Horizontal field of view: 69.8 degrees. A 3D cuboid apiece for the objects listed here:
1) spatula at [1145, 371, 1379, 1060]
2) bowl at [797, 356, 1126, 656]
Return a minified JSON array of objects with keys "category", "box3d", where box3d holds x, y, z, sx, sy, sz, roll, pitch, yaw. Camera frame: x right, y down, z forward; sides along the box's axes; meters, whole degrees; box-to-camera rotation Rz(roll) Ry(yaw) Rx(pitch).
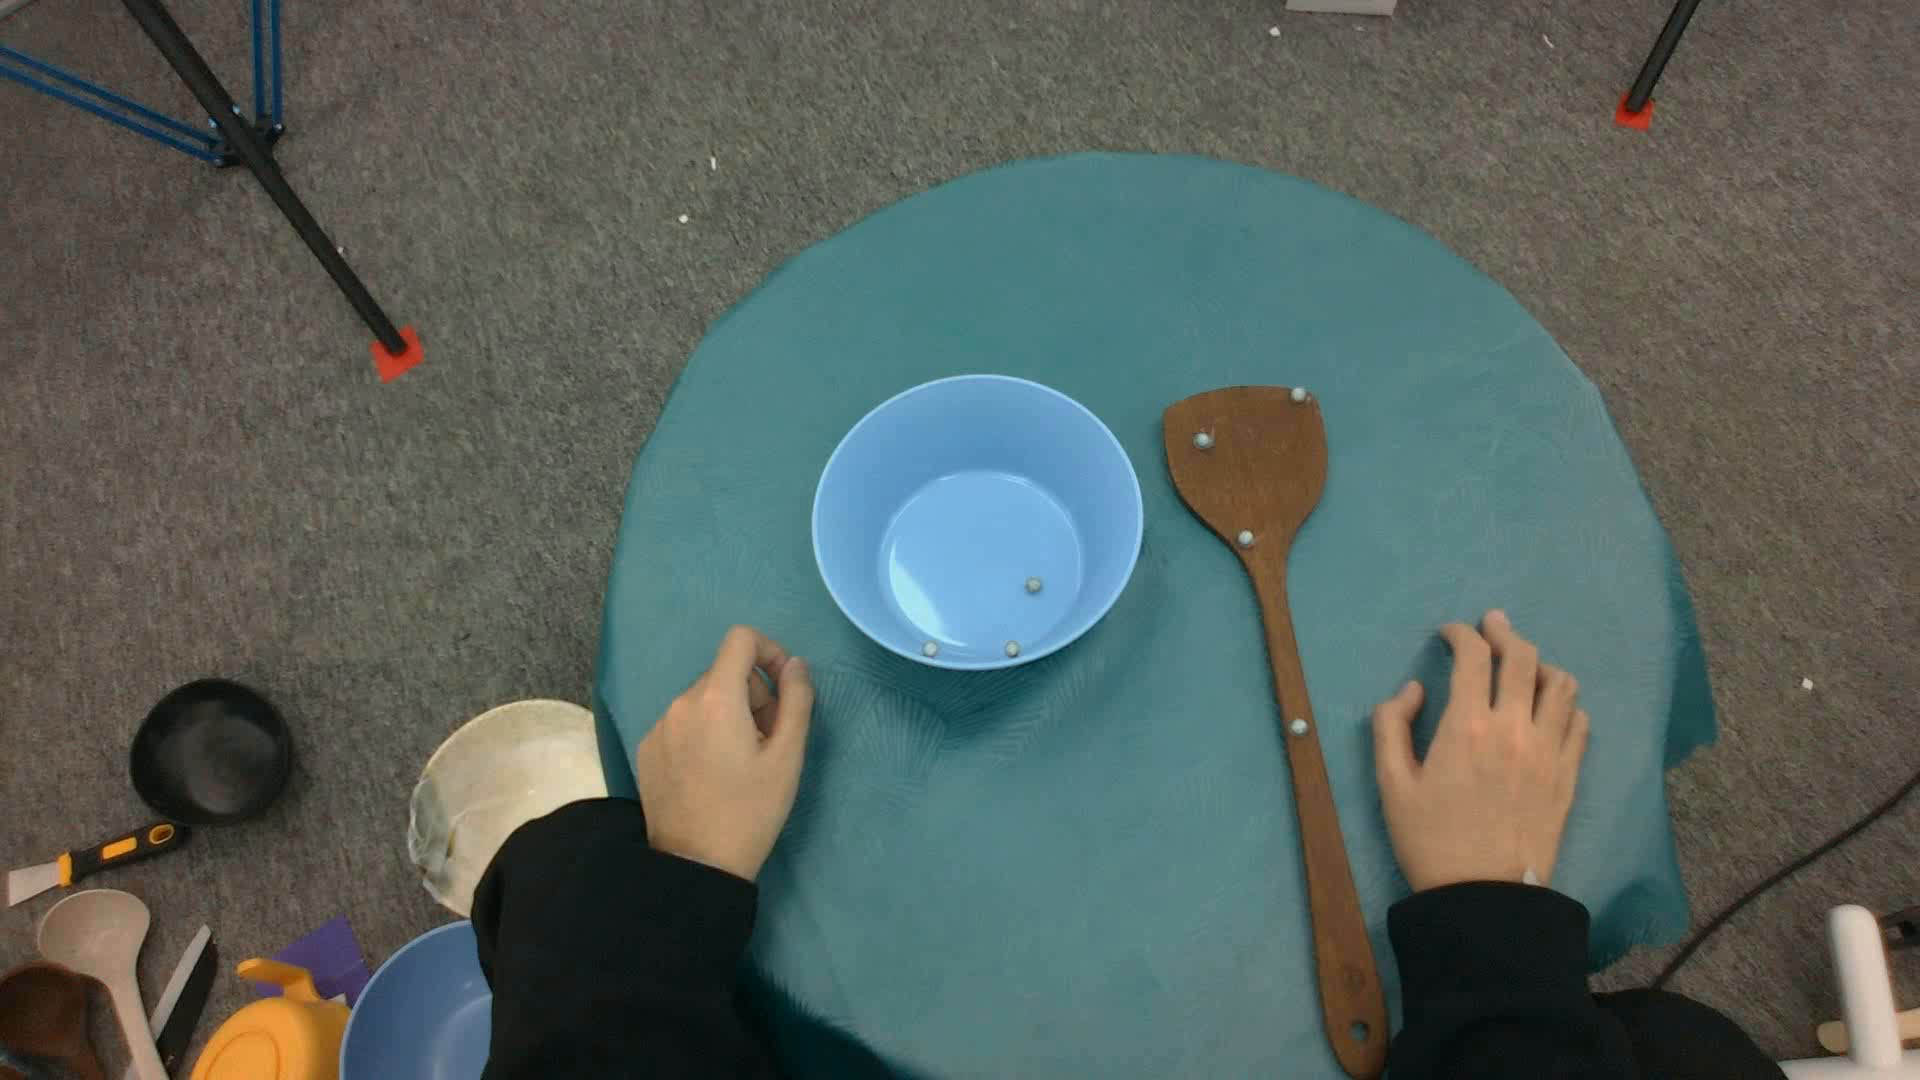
[{"category":"spatula","box3d":[0.172,0.074,0.741,0.096,0.016,0.387,-6,64,0]},{"category":"bowl","box3d":[0.002,-0.009,0.758,0.176,0.070,0.176,-1,66,2]}]
